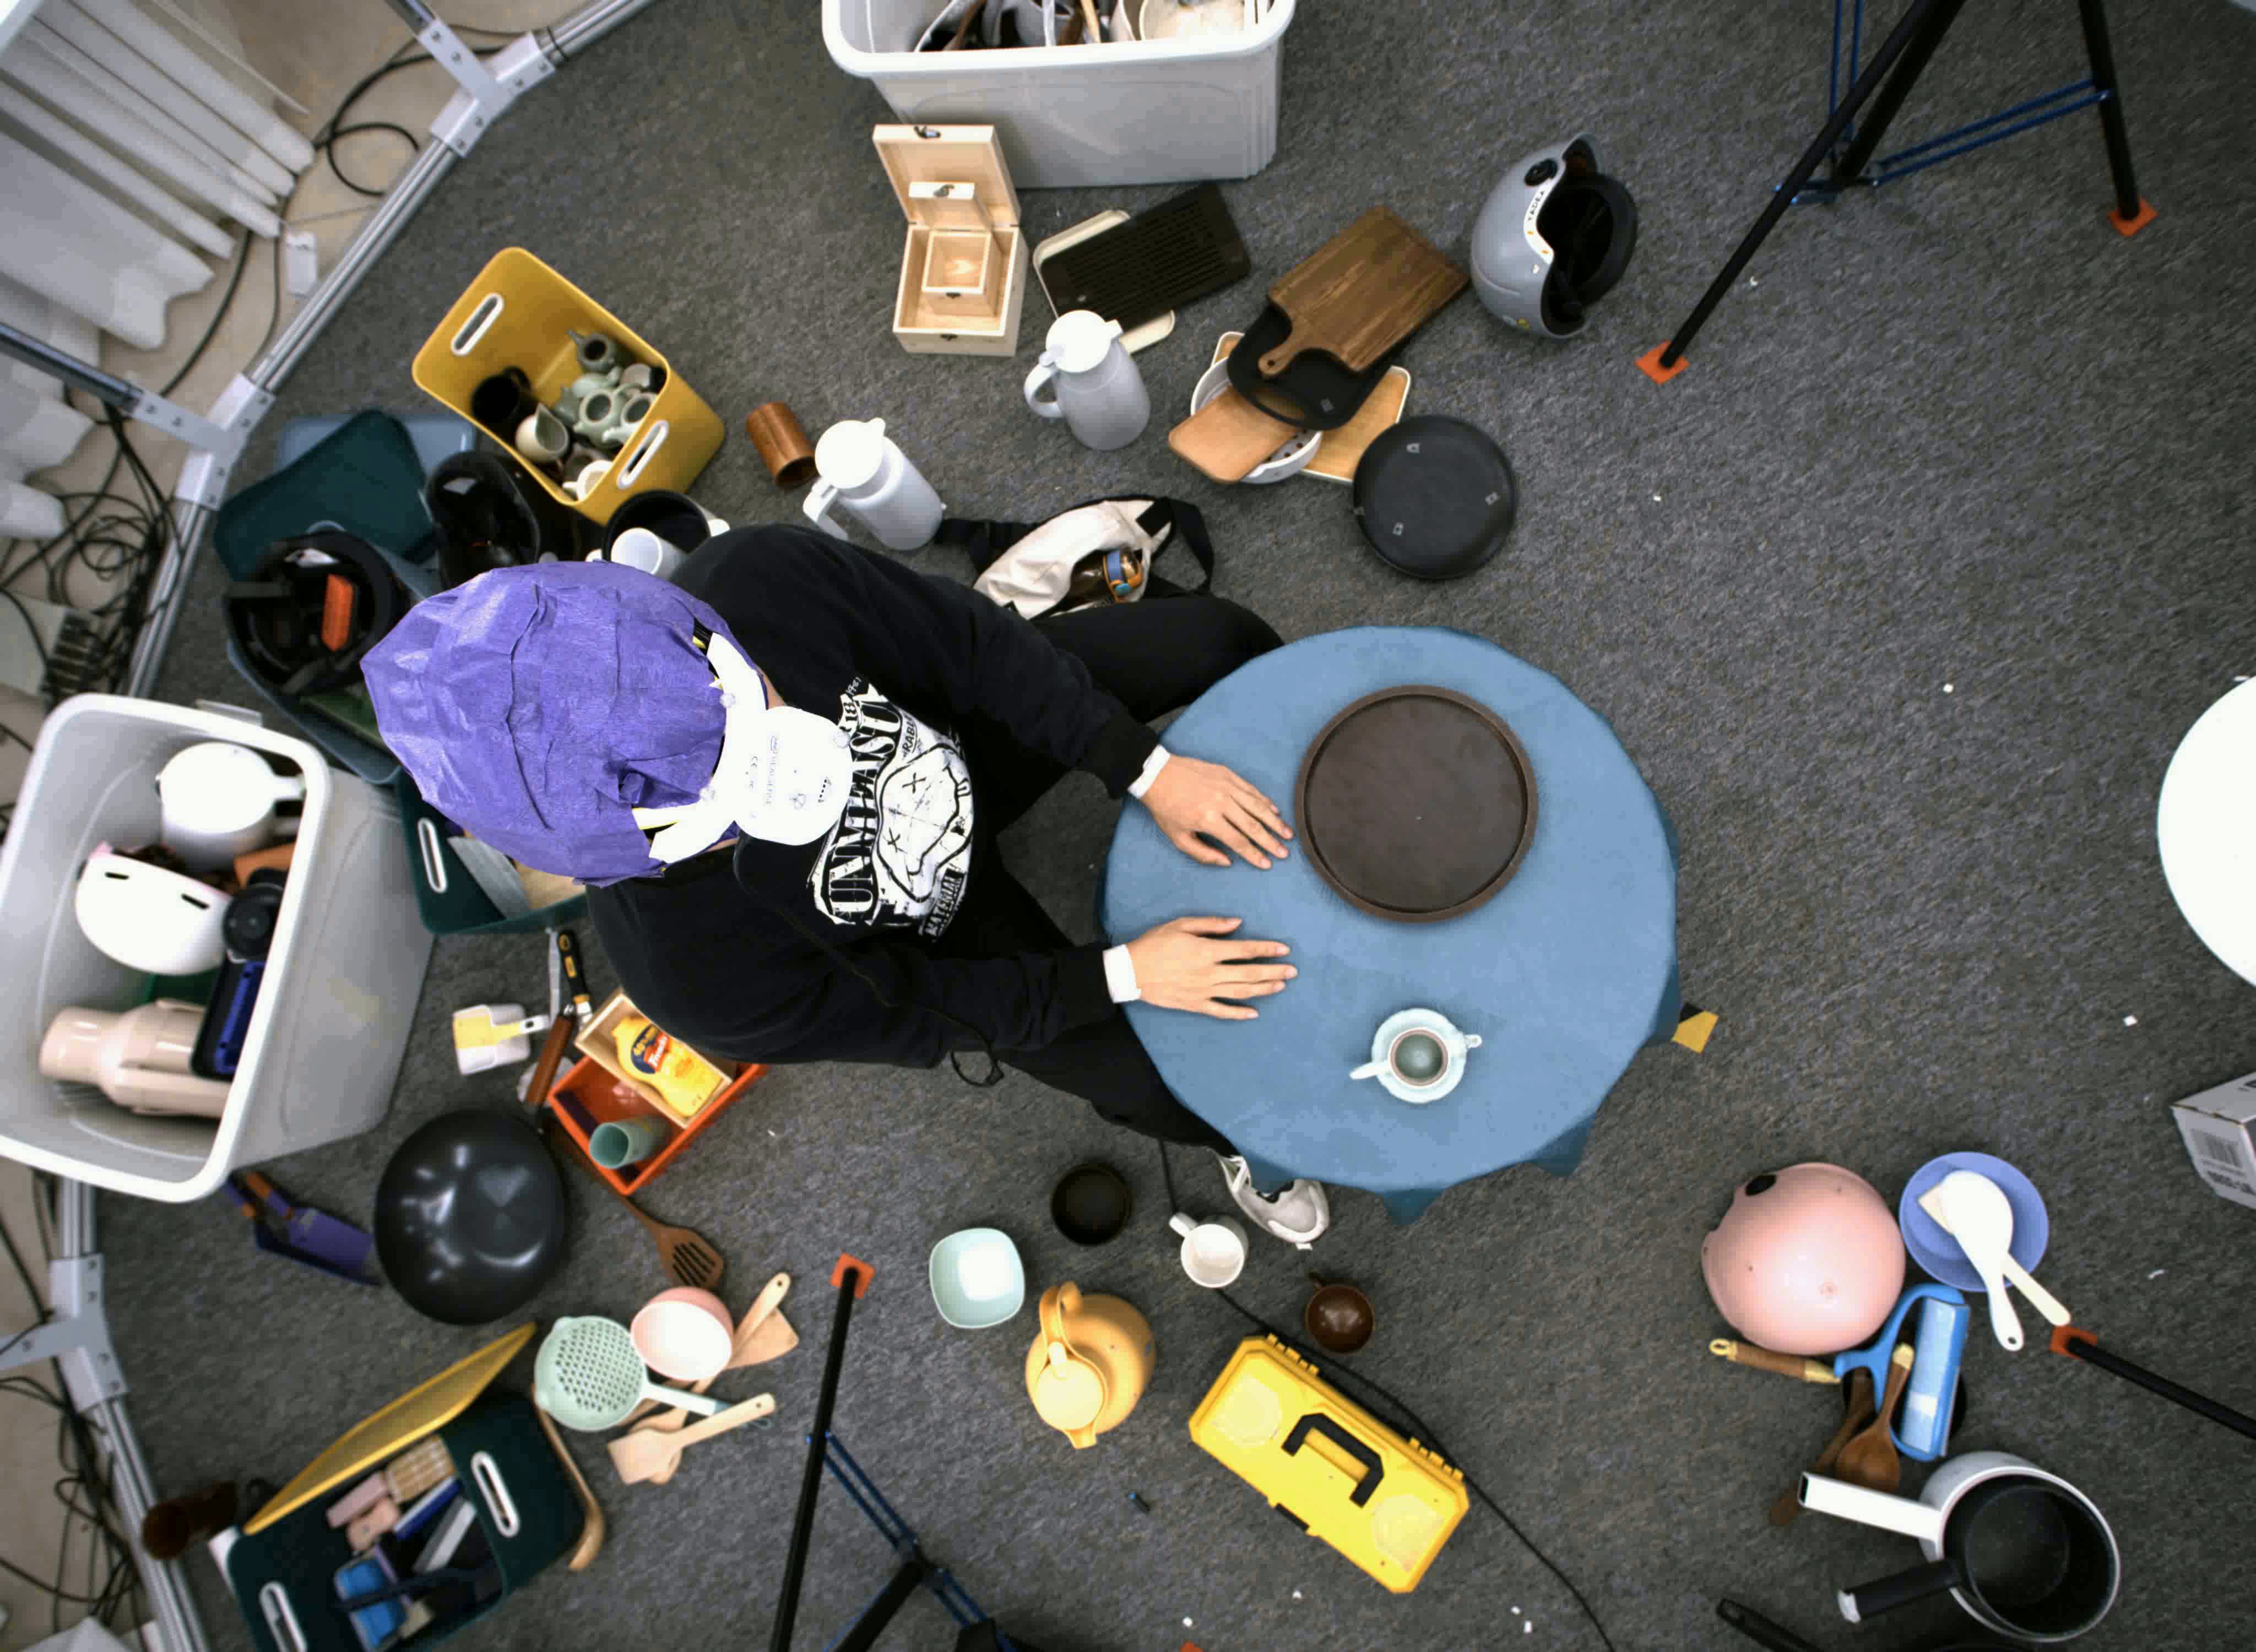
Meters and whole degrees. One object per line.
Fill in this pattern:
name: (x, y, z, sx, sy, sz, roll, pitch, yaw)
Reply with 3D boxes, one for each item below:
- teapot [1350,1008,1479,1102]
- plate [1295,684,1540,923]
teapot: (0.293, 0.235, 1.418, 0.138, 0.061, 0.095, -20, 84, 9)
plate: (0.303, -0.025, 1.447, 0.256, 0.029, 0.254, -1, 88, 10)
